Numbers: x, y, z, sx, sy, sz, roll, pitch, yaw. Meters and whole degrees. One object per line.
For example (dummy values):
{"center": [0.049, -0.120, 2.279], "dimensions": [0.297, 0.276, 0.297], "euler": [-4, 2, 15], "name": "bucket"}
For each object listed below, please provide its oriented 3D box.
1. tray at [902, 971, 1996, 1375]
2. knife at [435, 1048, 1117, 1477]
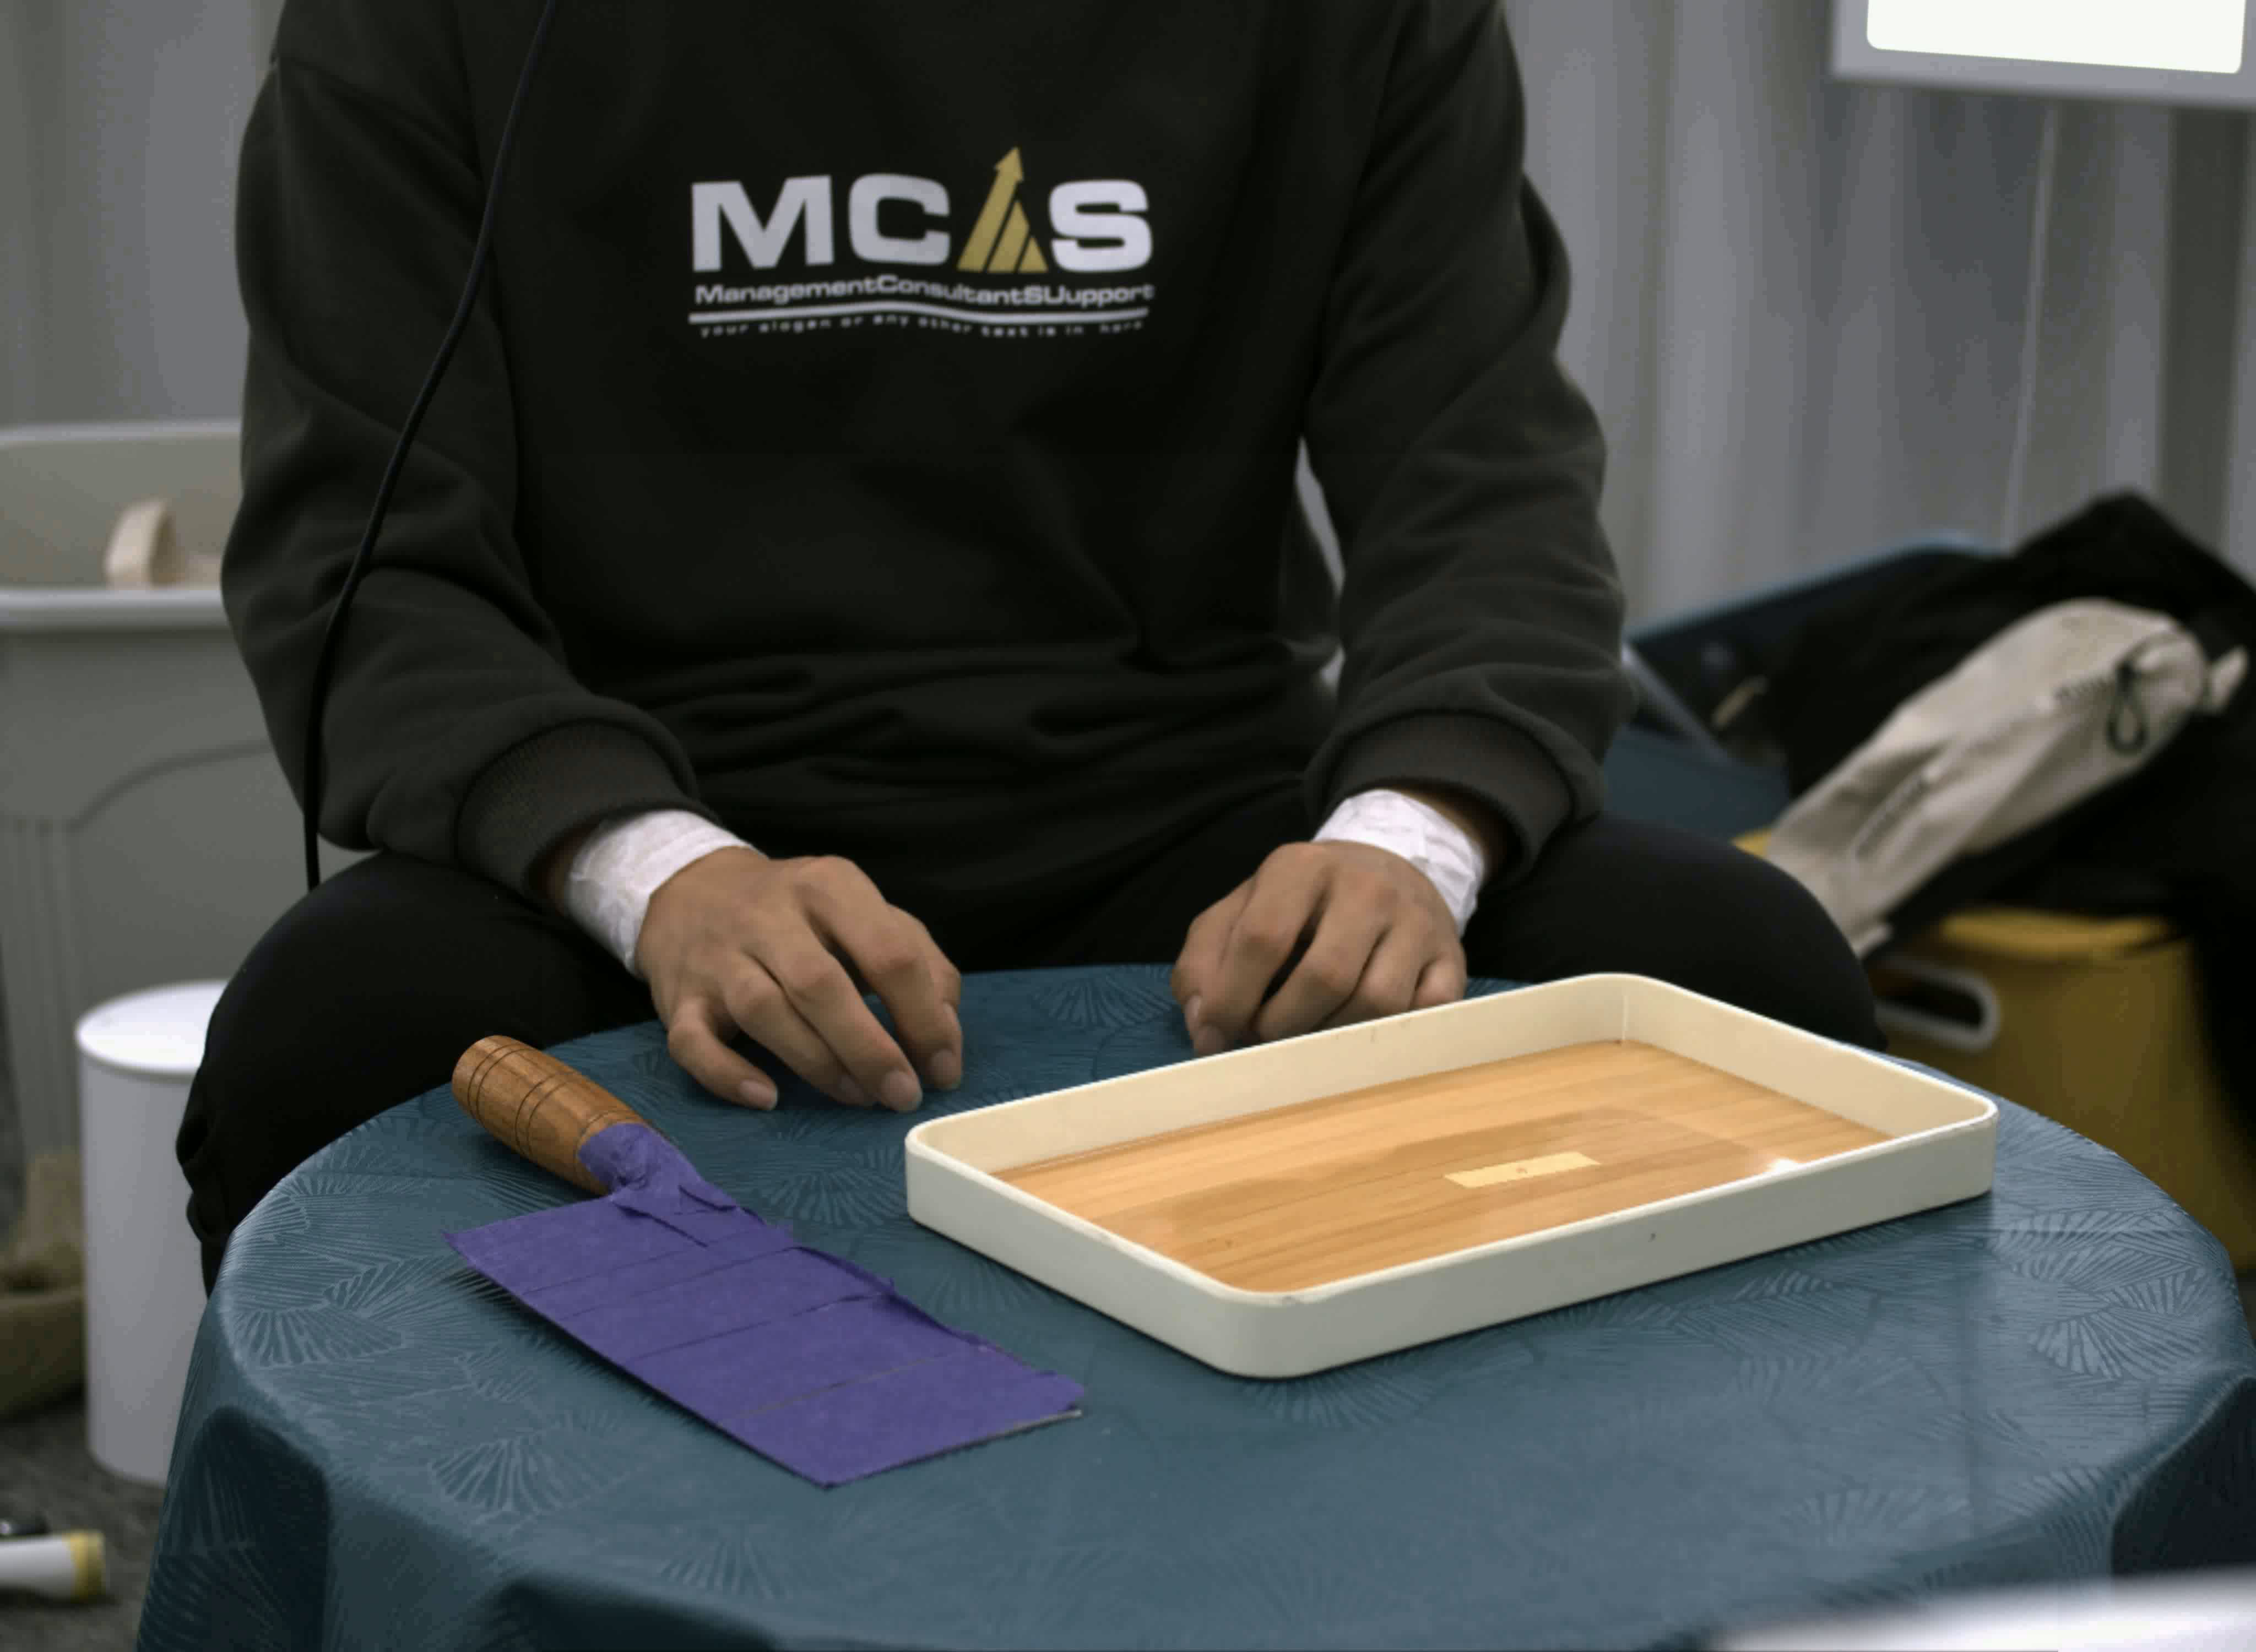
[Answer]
{"center": [0.100, 0.102, 1.616], "dimensions": [0.302, 0.027, 0.189], "euler": [-11, 18, -35], "name": "tray"}
{"center": [-0.136, 0.123, 1.531], "dimensions": [0.104, 0.032, 0.311], "euler": [-11, 20, -37], "name": "knife"}
